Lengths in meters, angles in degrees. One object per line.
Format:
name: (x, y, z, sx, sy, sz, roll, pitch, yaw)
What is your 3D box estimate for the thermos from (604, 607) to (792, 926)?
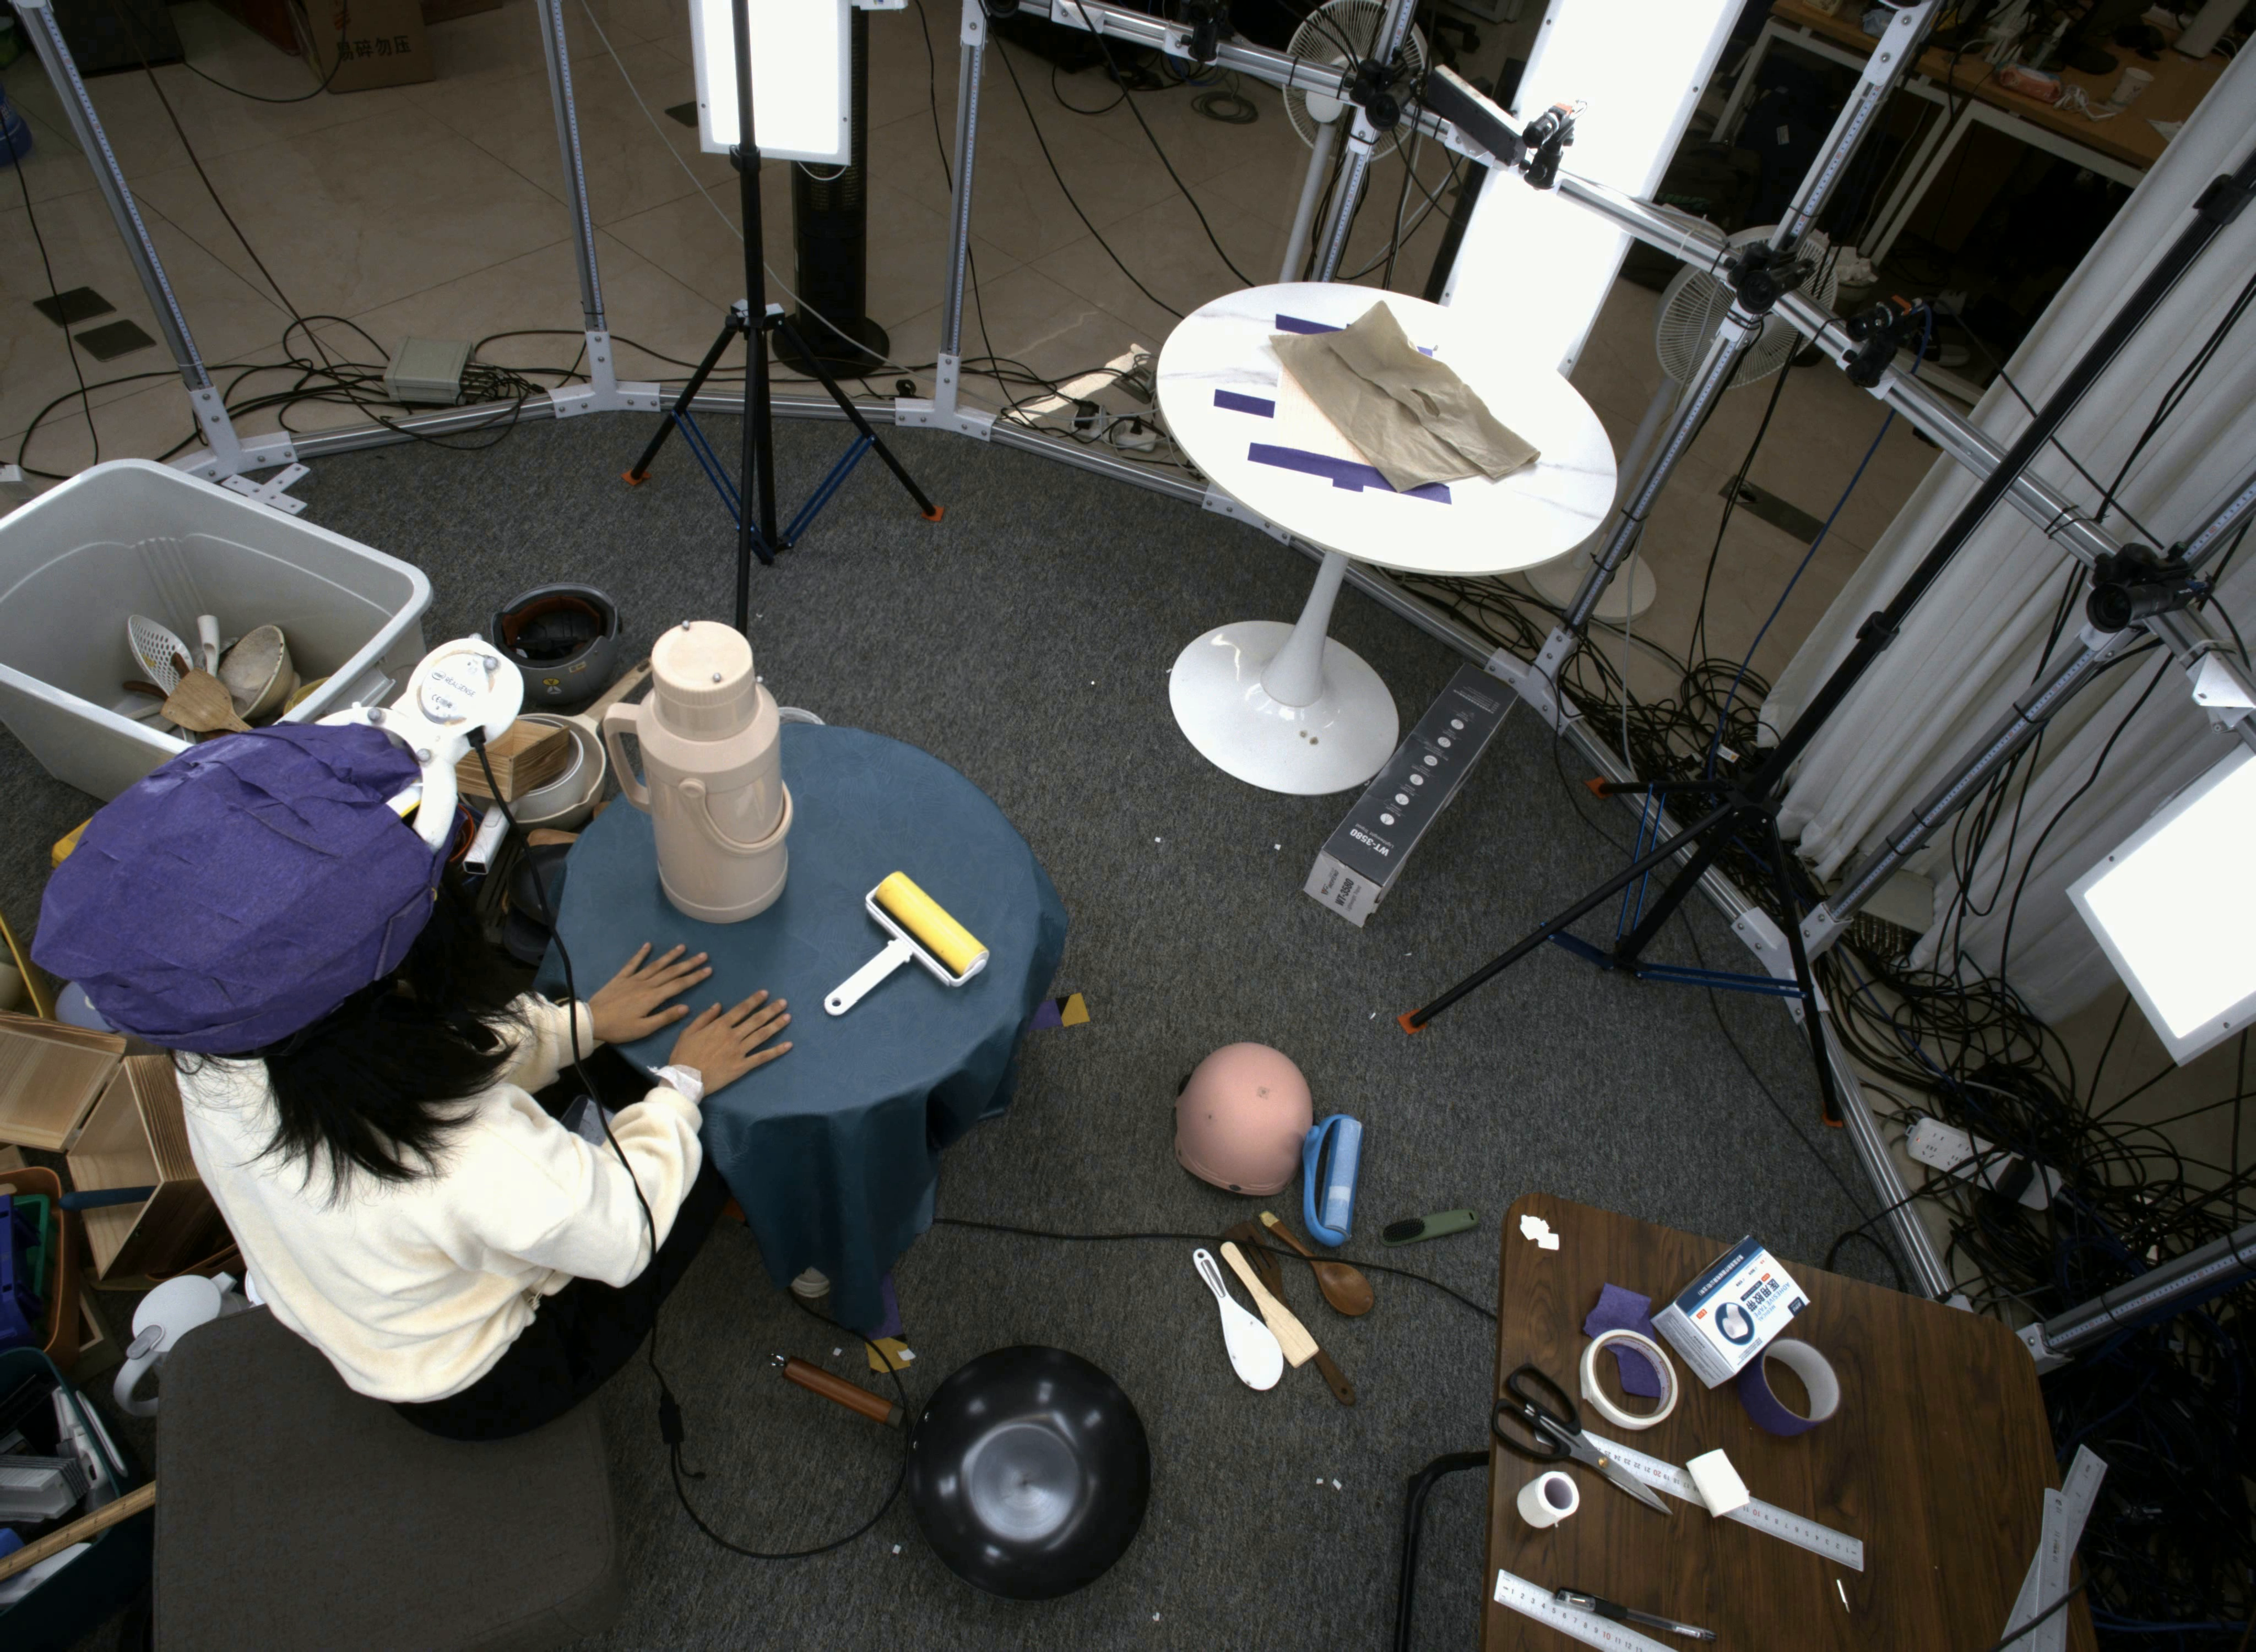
thermos: (-0.497, -0.067, 1.493, 0.206, 0.415, 0.172, 6, 52, -7)

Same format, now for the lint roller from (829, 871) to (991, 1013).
lint roller: (-0.291, 0.158, 1.601, 0.170, 0.052, 0.192, 39, 48, 15)
